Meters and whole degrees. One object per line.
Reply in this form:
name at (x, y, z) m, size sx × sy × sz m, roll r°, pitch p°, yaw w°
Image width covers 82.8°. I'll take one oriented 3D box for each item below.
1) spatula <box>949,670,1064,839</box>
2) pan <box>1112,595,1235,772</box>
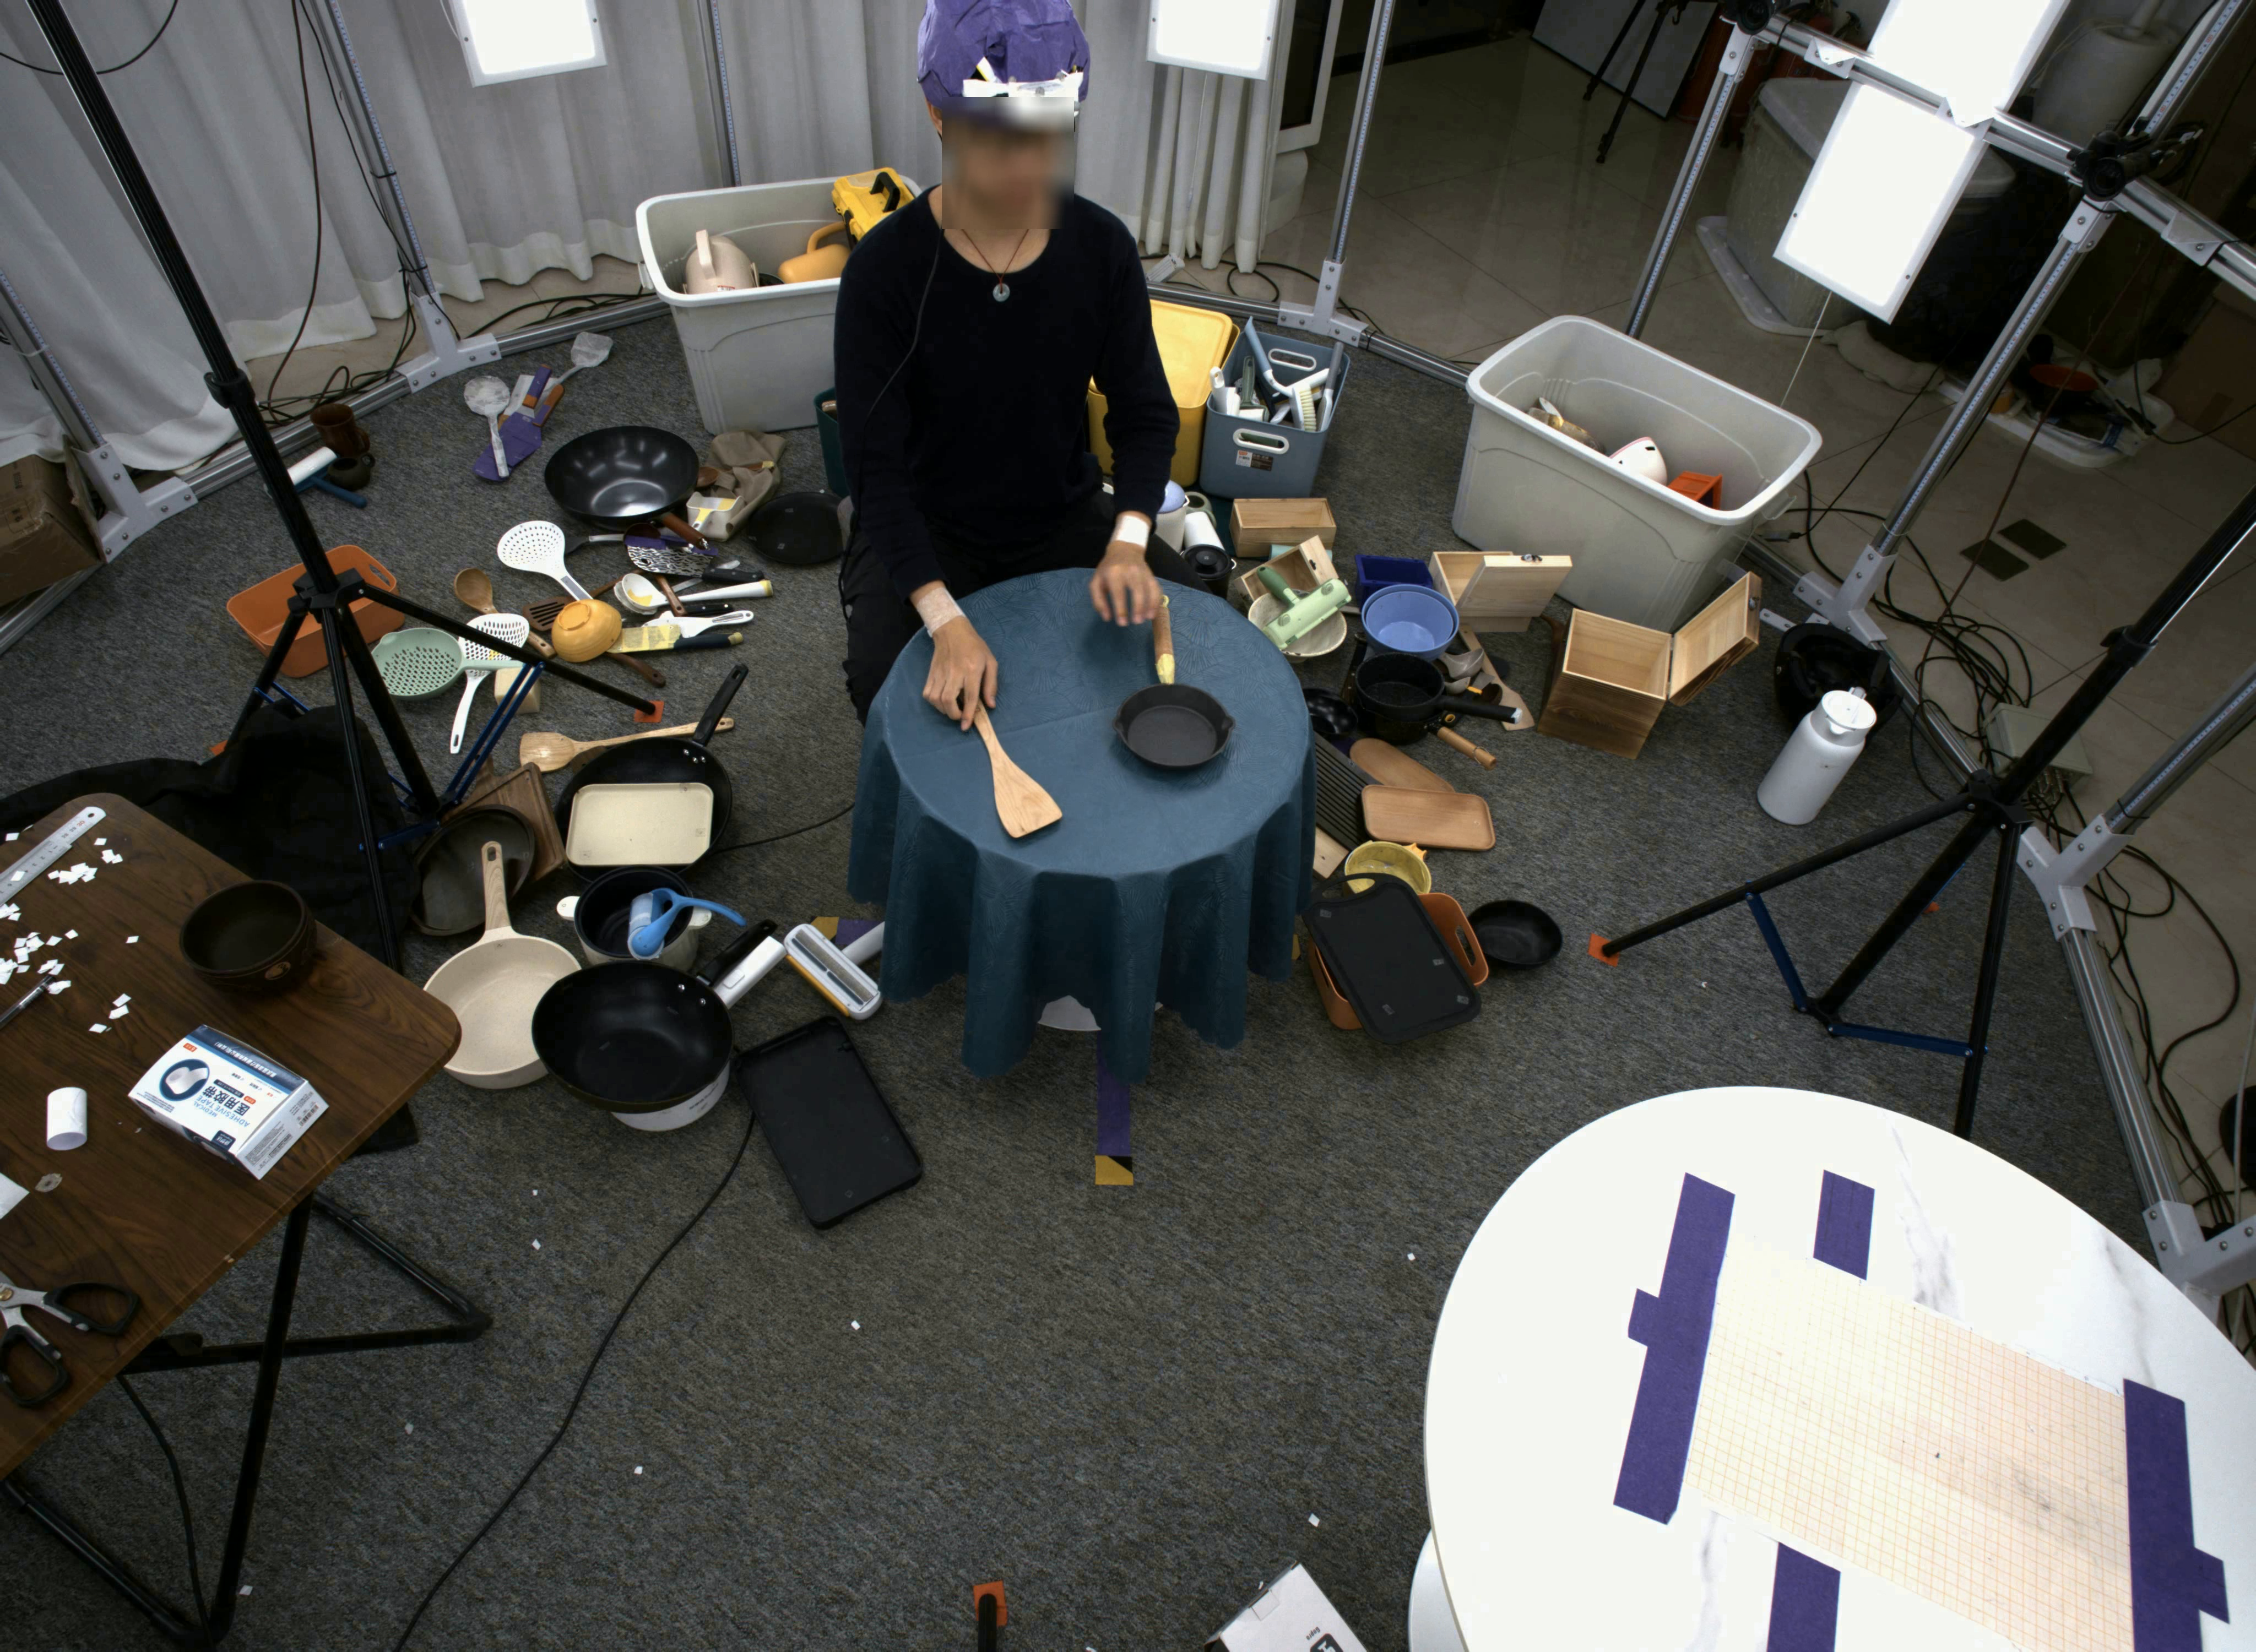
spatula at (-0.178, -0.106, 1.738) m, size 0.080 × 0.016 × 0.335 m, roll -16°, pitch 52°, yaw -18°
pan at (0.058, -0.203, 1.816) m, size 0.169 × 0.048 × 0.332 m, roll 0°, pitch 51°, yaw -4°
